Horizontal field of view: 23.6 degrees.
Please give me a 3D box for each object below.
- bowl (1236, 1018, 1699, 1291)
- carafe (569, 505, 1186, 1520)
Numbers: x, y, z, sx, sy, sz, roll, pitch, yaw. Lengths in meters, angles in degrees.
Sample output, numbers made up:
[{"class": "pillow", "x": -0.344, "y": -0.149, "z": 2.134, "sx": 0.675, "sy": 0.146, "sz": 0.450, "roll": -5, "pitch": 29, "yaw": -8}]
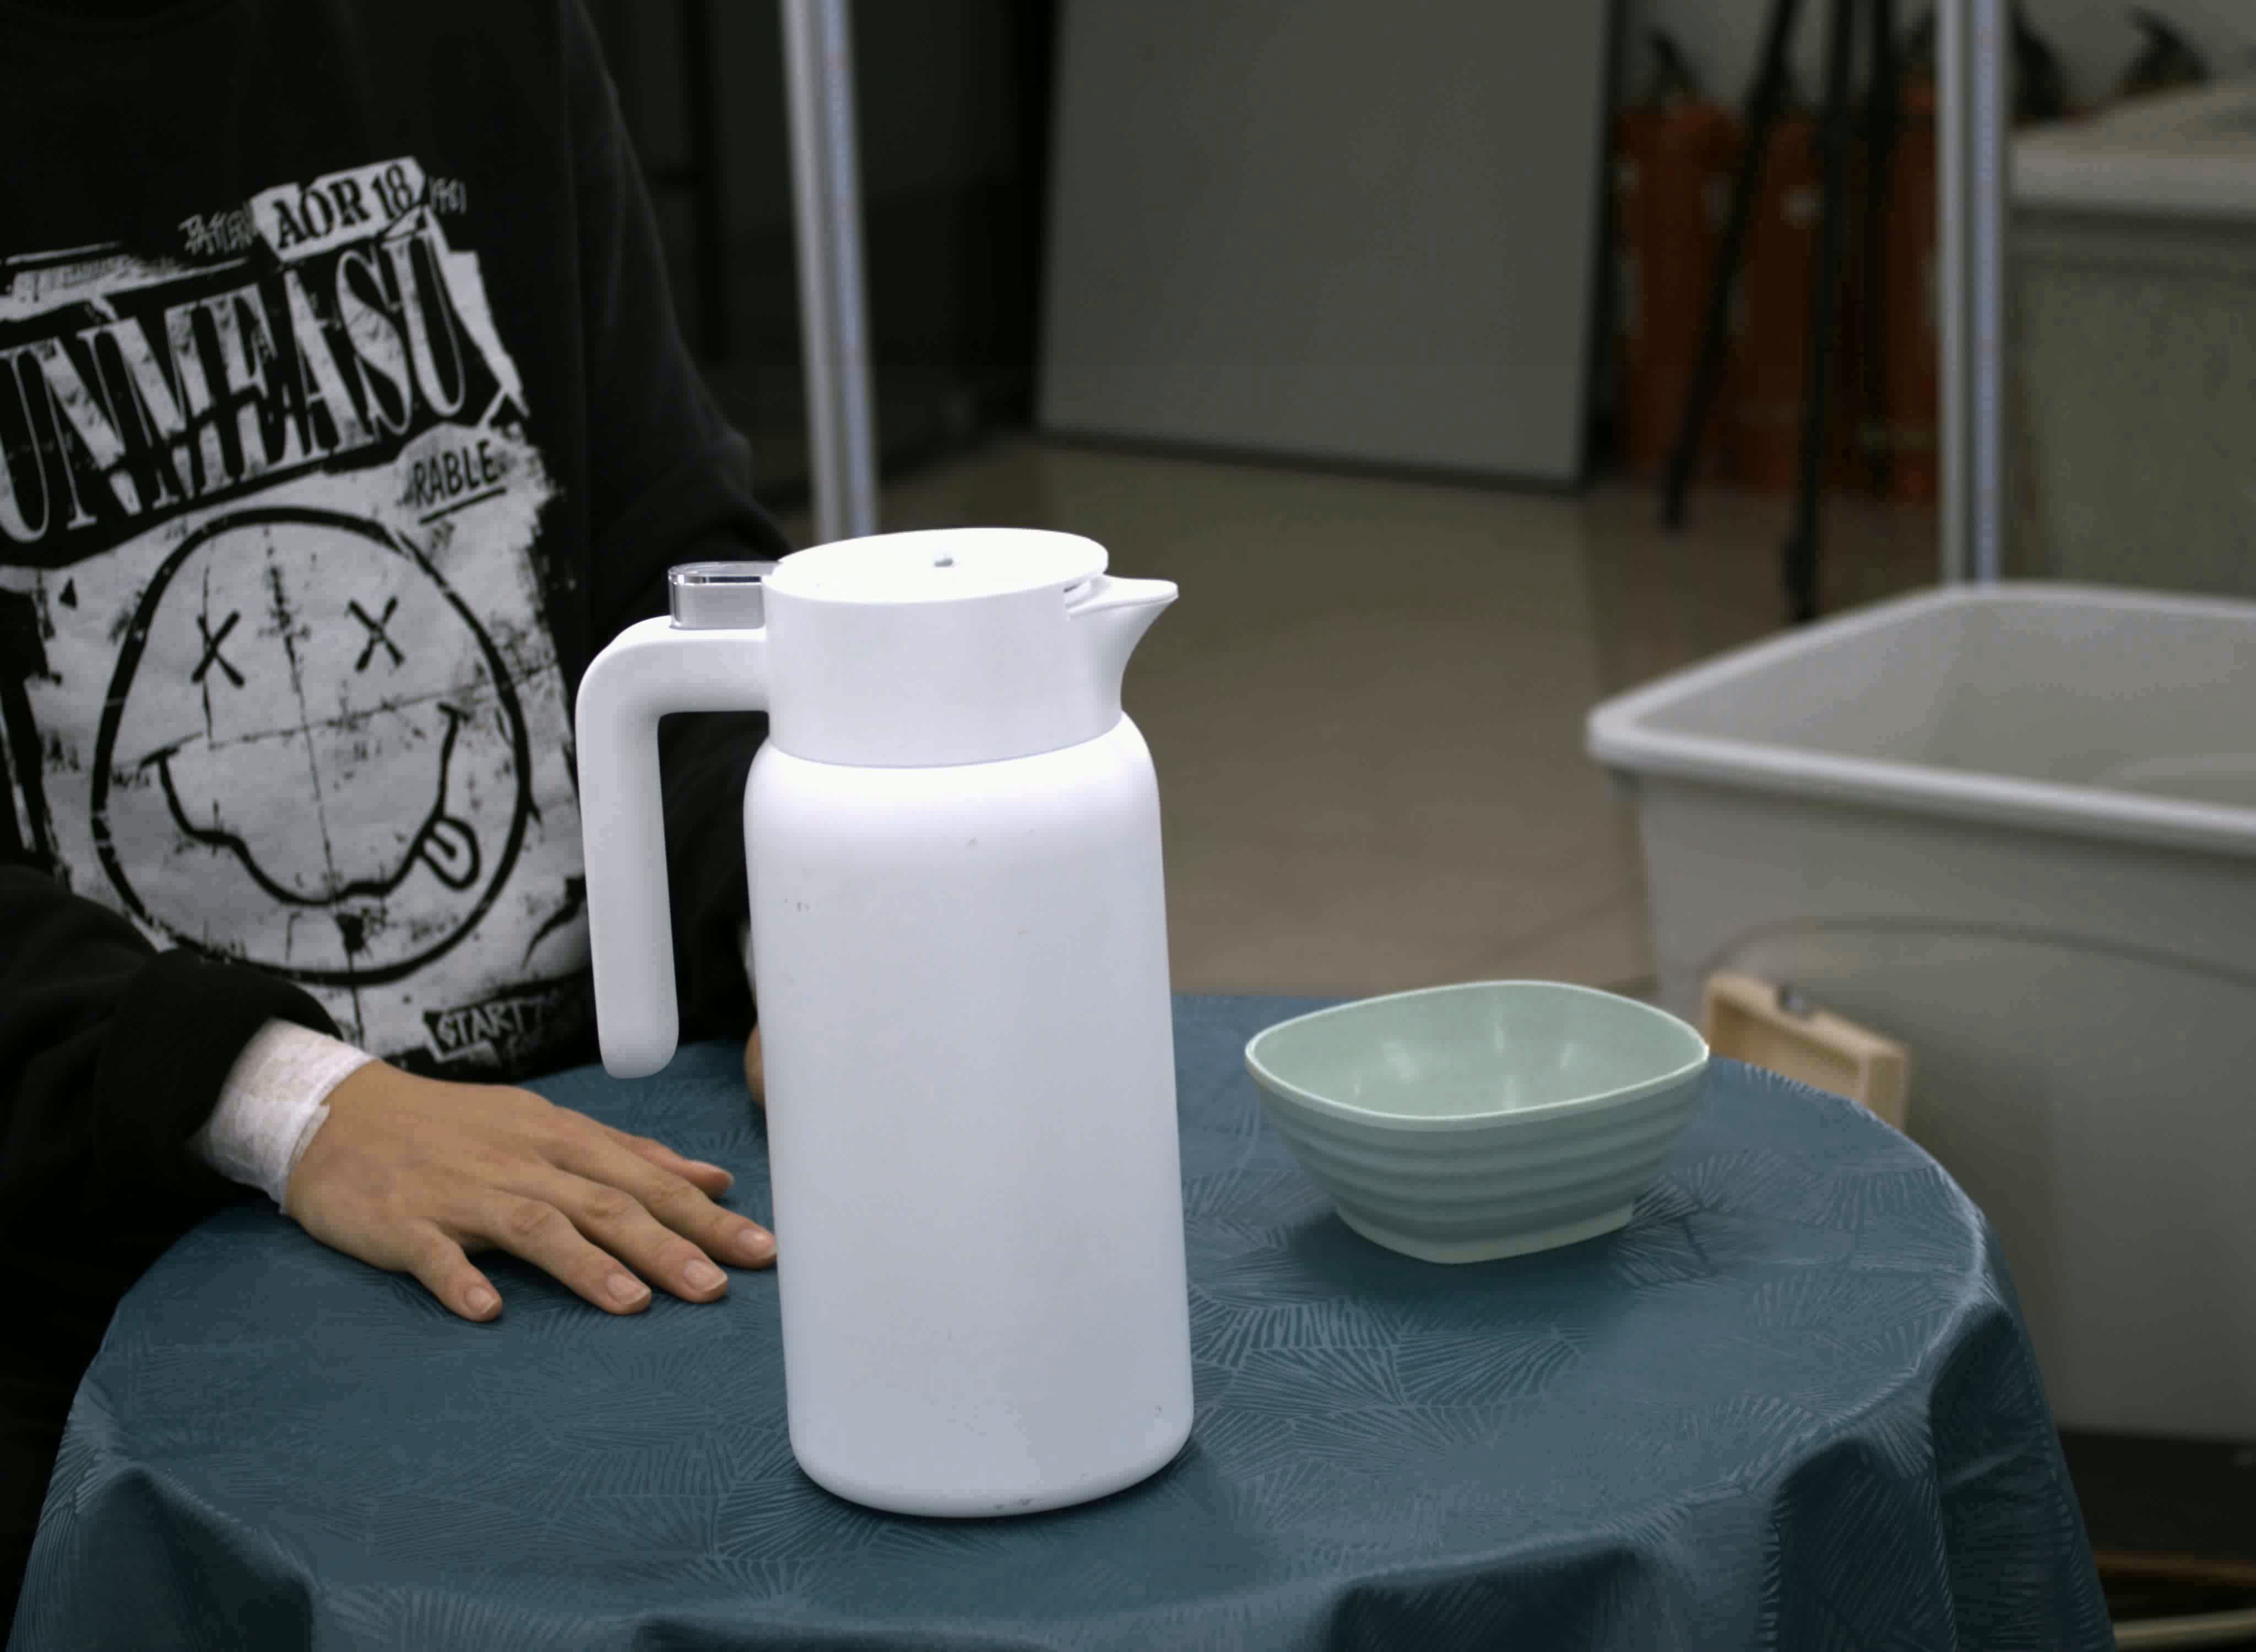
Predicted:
[{"class": "bowl", "x": 0.111, "y": 0.107, "z": 1.713, "sx": 0.149, "sy": 0.059, "sz": 0.151, "roll": -9, "pitch": 9, "yaw": 0}, {"class": "carafe", "x": -0.065, "y": 0.052, "z": 1.515, "sx": 0.171, "sy": 0.272, "sz": 0.123, "roll": -2, "pitch": 15, "yaw": 9}]
